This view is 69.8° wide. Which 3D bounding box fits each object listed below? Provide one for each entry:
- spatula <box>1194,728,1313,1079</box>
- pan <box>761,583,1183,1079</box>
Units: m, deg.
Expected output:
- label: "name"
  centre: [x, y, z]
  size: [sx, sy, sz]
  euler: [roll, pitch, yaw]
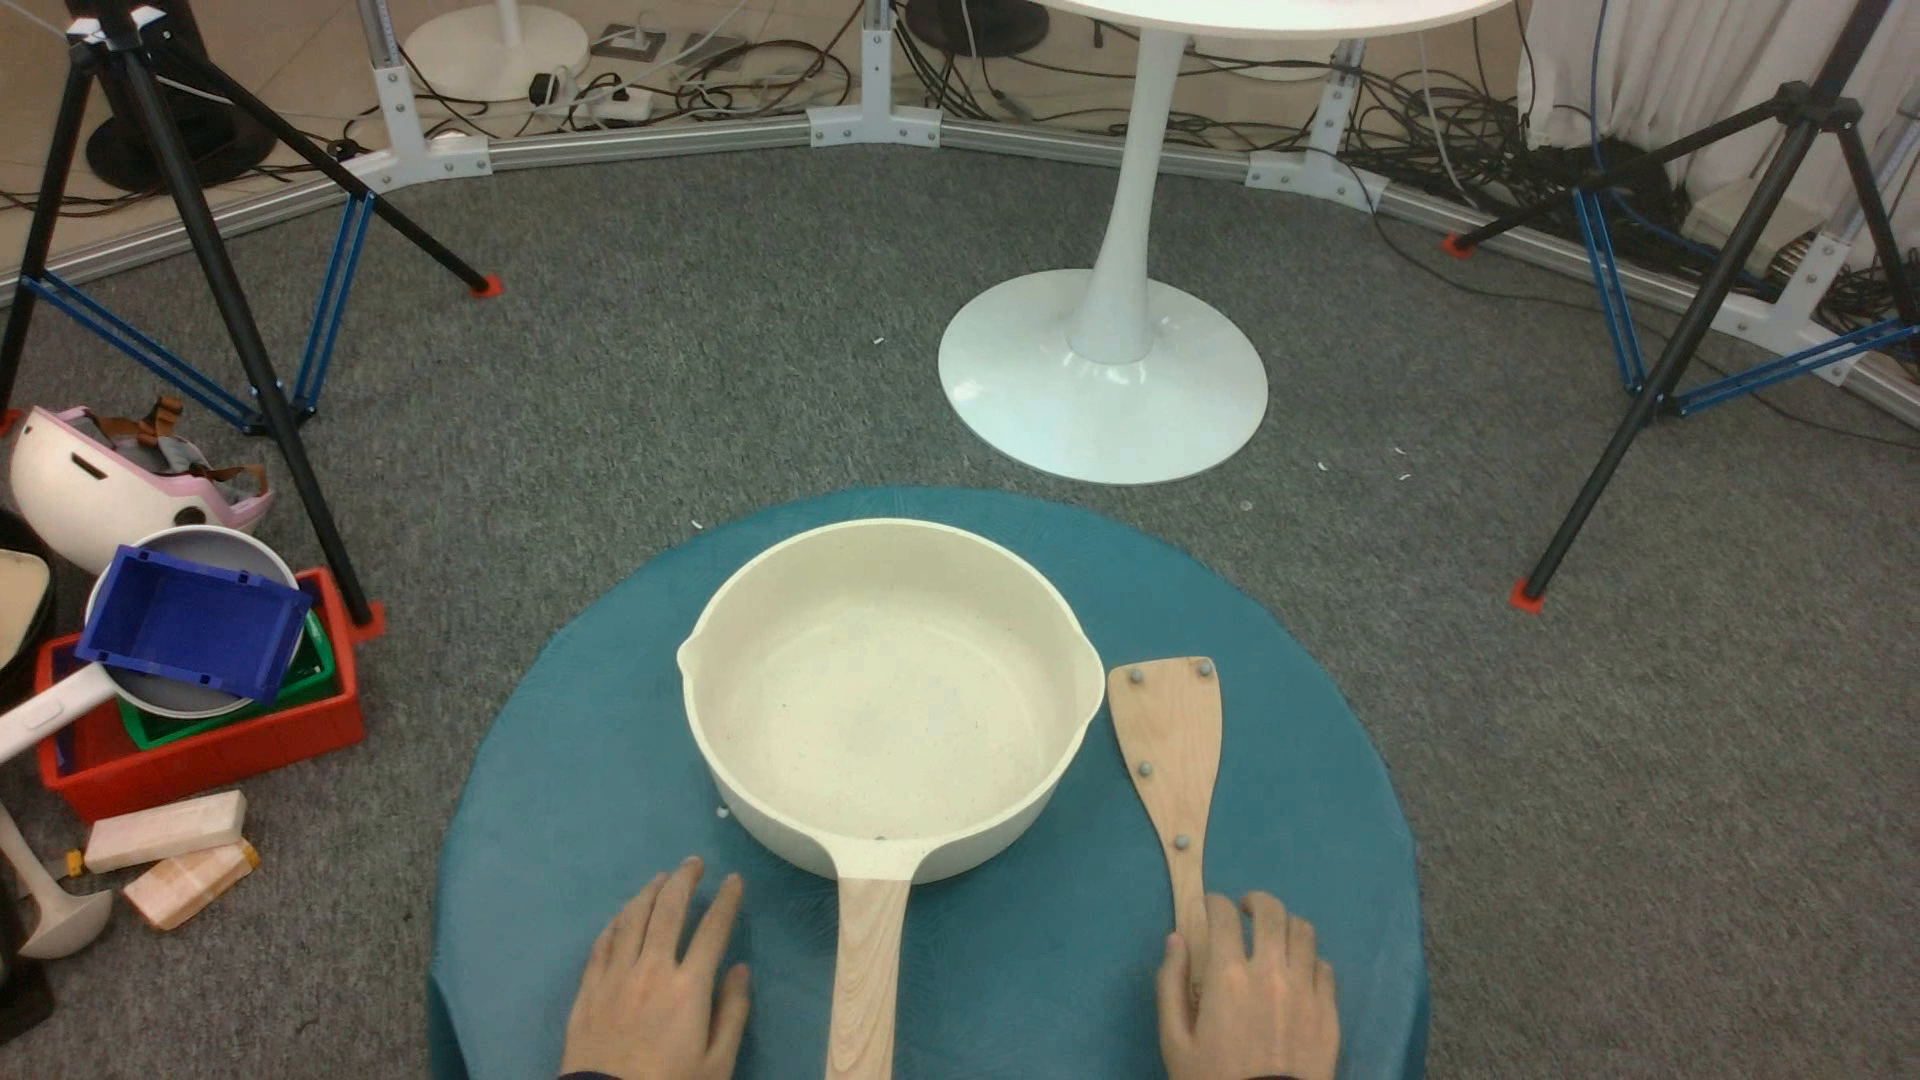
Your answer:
- label: "spatula"
  centre: [0.190, 0.248, 0.837]
  size: [0.080, 0.016, 0.329]
  euler: [4, 45, 1]
- label: "pan"
  centre: [0.000, 0.207, 0.811]
  size: [0.263, 0.101, 0.437]
  euler: [5, 45, 1]
